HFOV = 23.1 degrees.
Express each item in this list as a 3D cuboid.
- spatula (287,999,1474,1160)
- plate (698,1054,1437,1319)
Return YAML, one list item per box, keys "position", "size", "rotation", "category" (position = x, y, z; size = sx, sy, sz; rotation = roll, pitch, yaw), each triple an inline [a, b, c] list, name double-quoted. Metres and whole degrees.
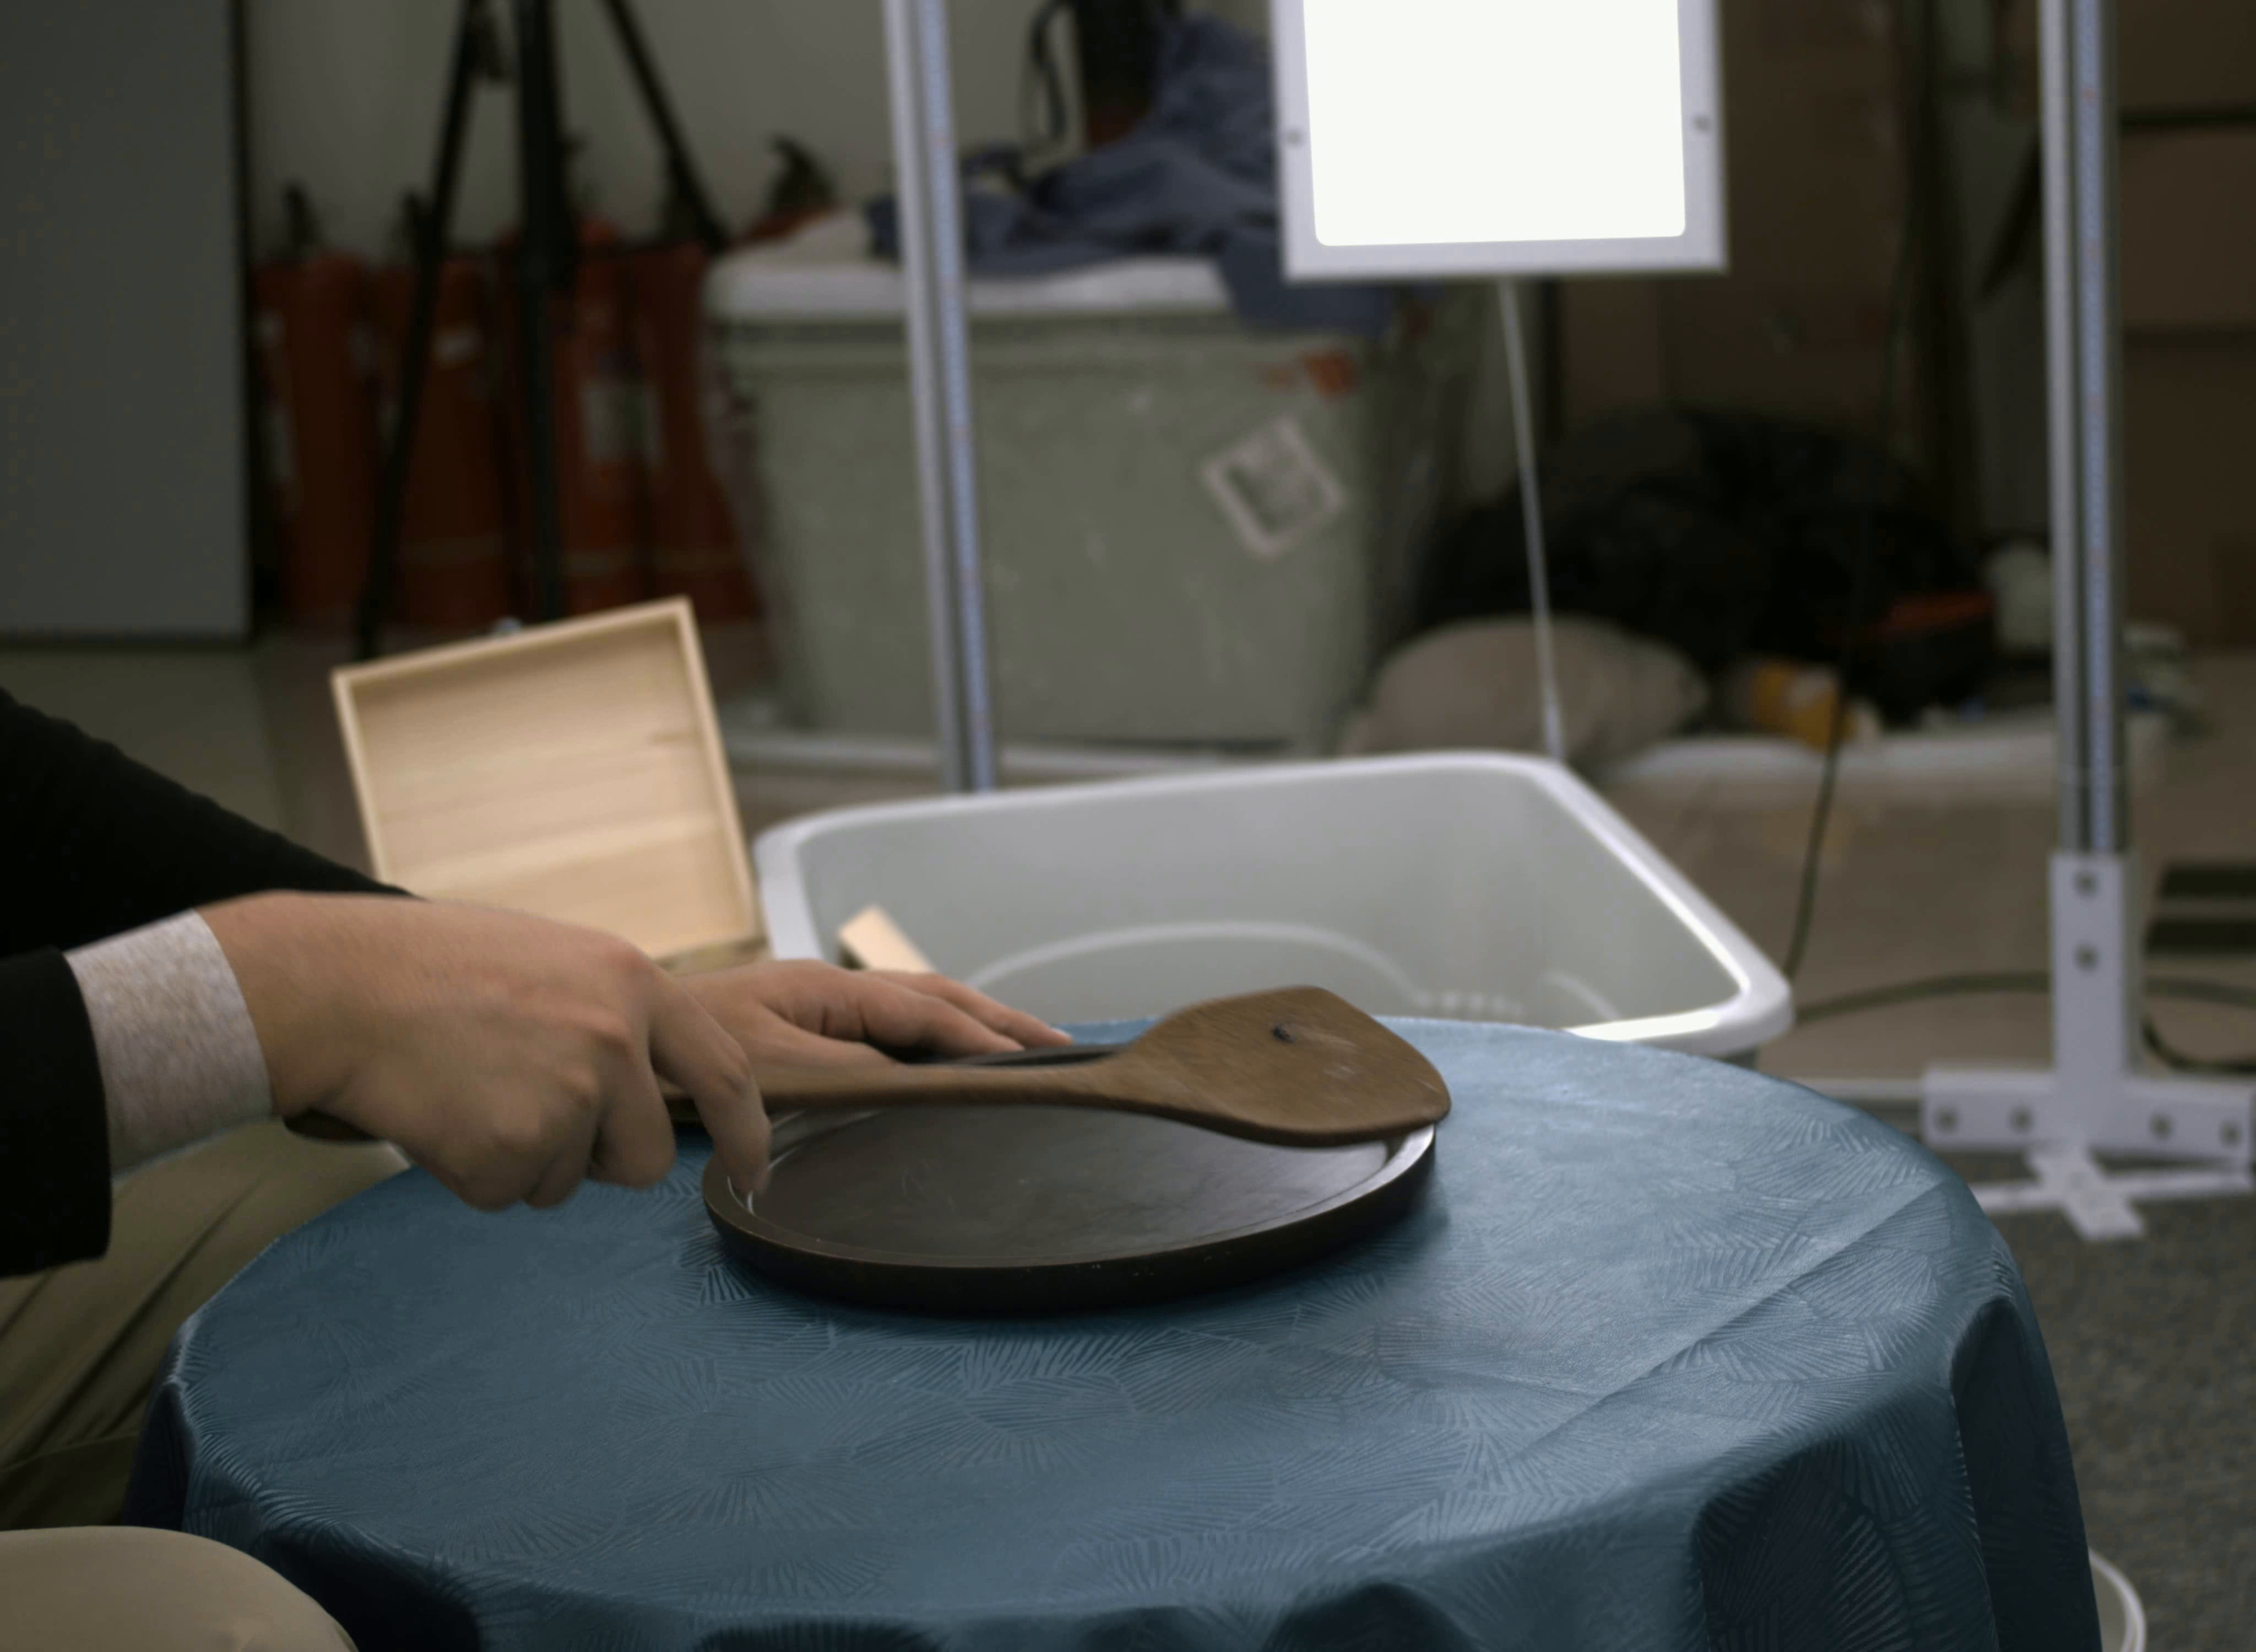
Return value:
- position: [-0.070, 0.081, 1.653]
  size: [0.377, 0.016, 0.097]
  rotation: [-1, 25, -28]
  category: "spatula"
- position: [-0.021, 0.120, 1.885]
  size: [0.254, 0.029, 0.254]
  rotation: [-4, 15, 0]
  category: "plate"
